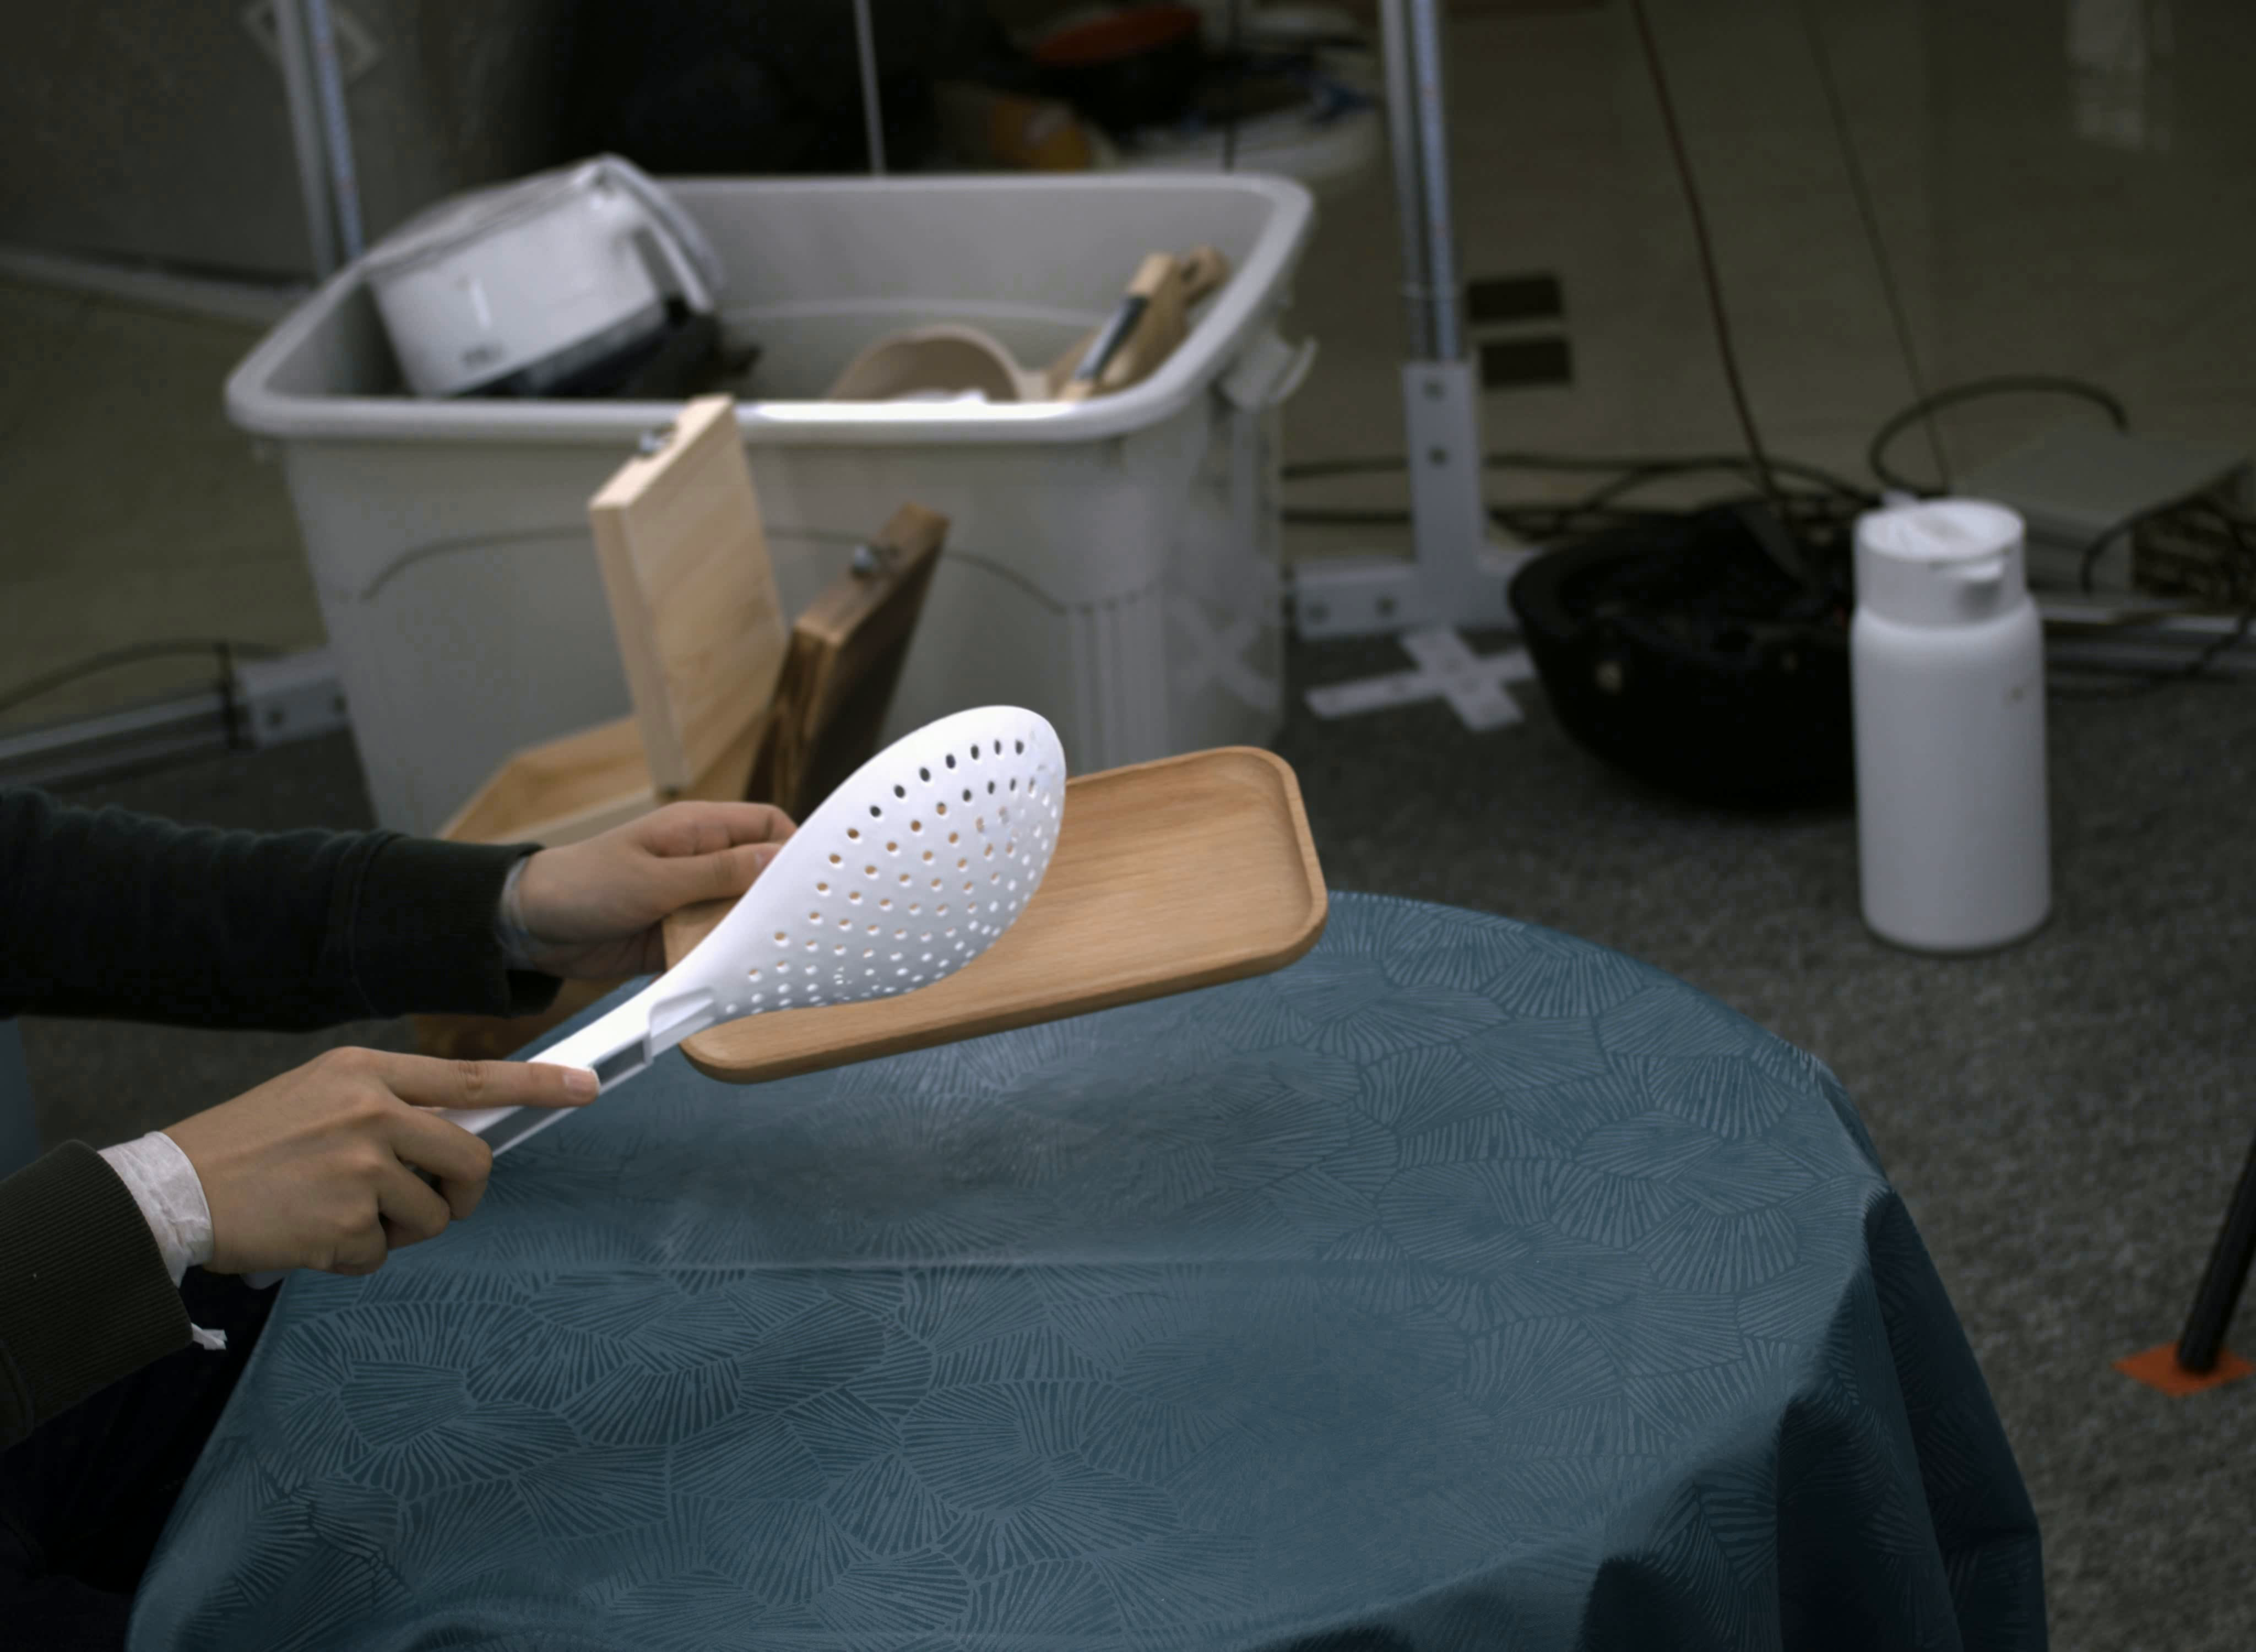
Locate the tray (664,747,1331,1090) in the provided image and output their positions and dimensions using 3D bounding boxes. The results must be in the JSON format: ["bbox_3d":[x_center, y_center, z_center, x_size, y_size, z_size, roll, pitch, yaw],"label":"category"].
[{"bbox_3d":[-0.050,0.035,2.153,0.250,0.023,0.128,-12,39,1],"label":"tray"}]

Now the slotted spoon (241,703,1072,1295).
[{"bbox_3d":[-0.158,0.066,1.985,0.348,0.138,0.045,-27,58,-17],"label":"slotted spoon"}]
